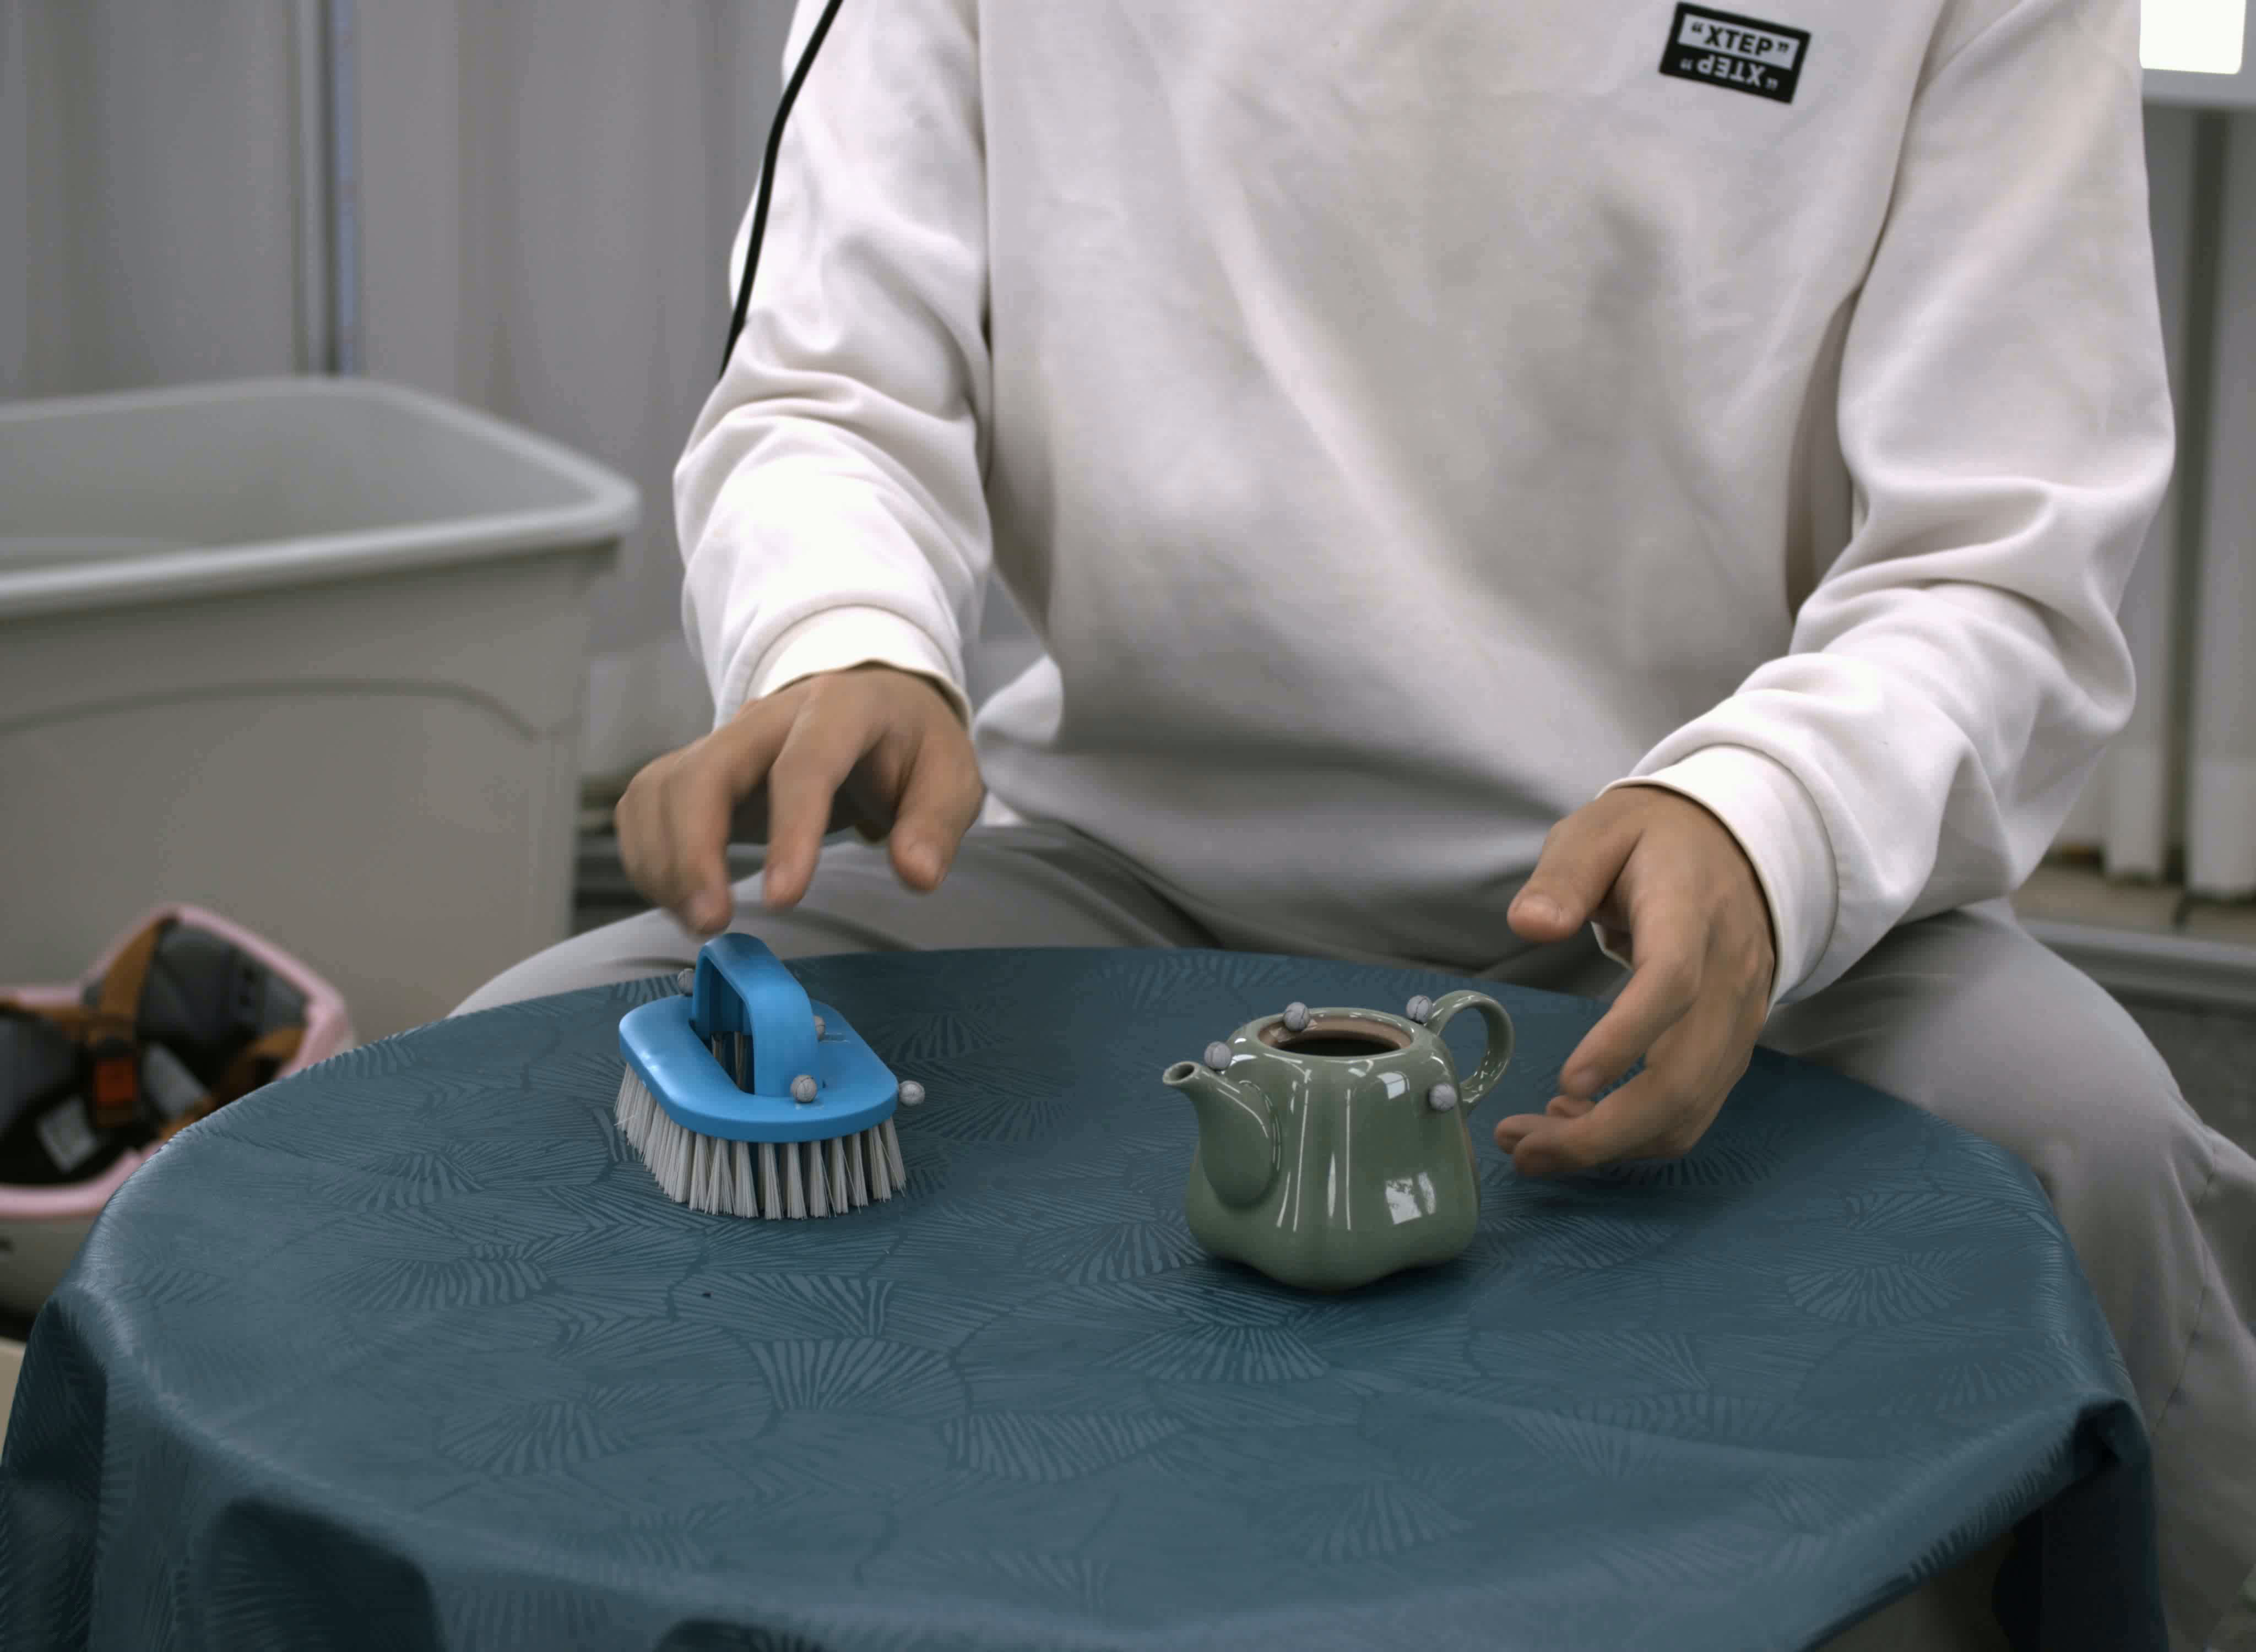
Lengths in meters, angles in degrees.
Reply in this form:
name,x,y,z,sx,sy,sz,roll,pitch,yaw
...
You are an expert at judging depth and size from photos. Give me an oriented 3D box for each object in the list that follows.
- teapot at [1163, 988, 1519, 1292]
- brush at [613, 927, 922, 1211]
name,x,y,z,sx,sy,sz,roll,pitch,yaw
teapot,0.062,0.093,1.566,0.133,0.076,0.078,-11,20,-37
brush,-0.117,0.070,1.655,0.084,0.064,0.140,-9,17,-14
